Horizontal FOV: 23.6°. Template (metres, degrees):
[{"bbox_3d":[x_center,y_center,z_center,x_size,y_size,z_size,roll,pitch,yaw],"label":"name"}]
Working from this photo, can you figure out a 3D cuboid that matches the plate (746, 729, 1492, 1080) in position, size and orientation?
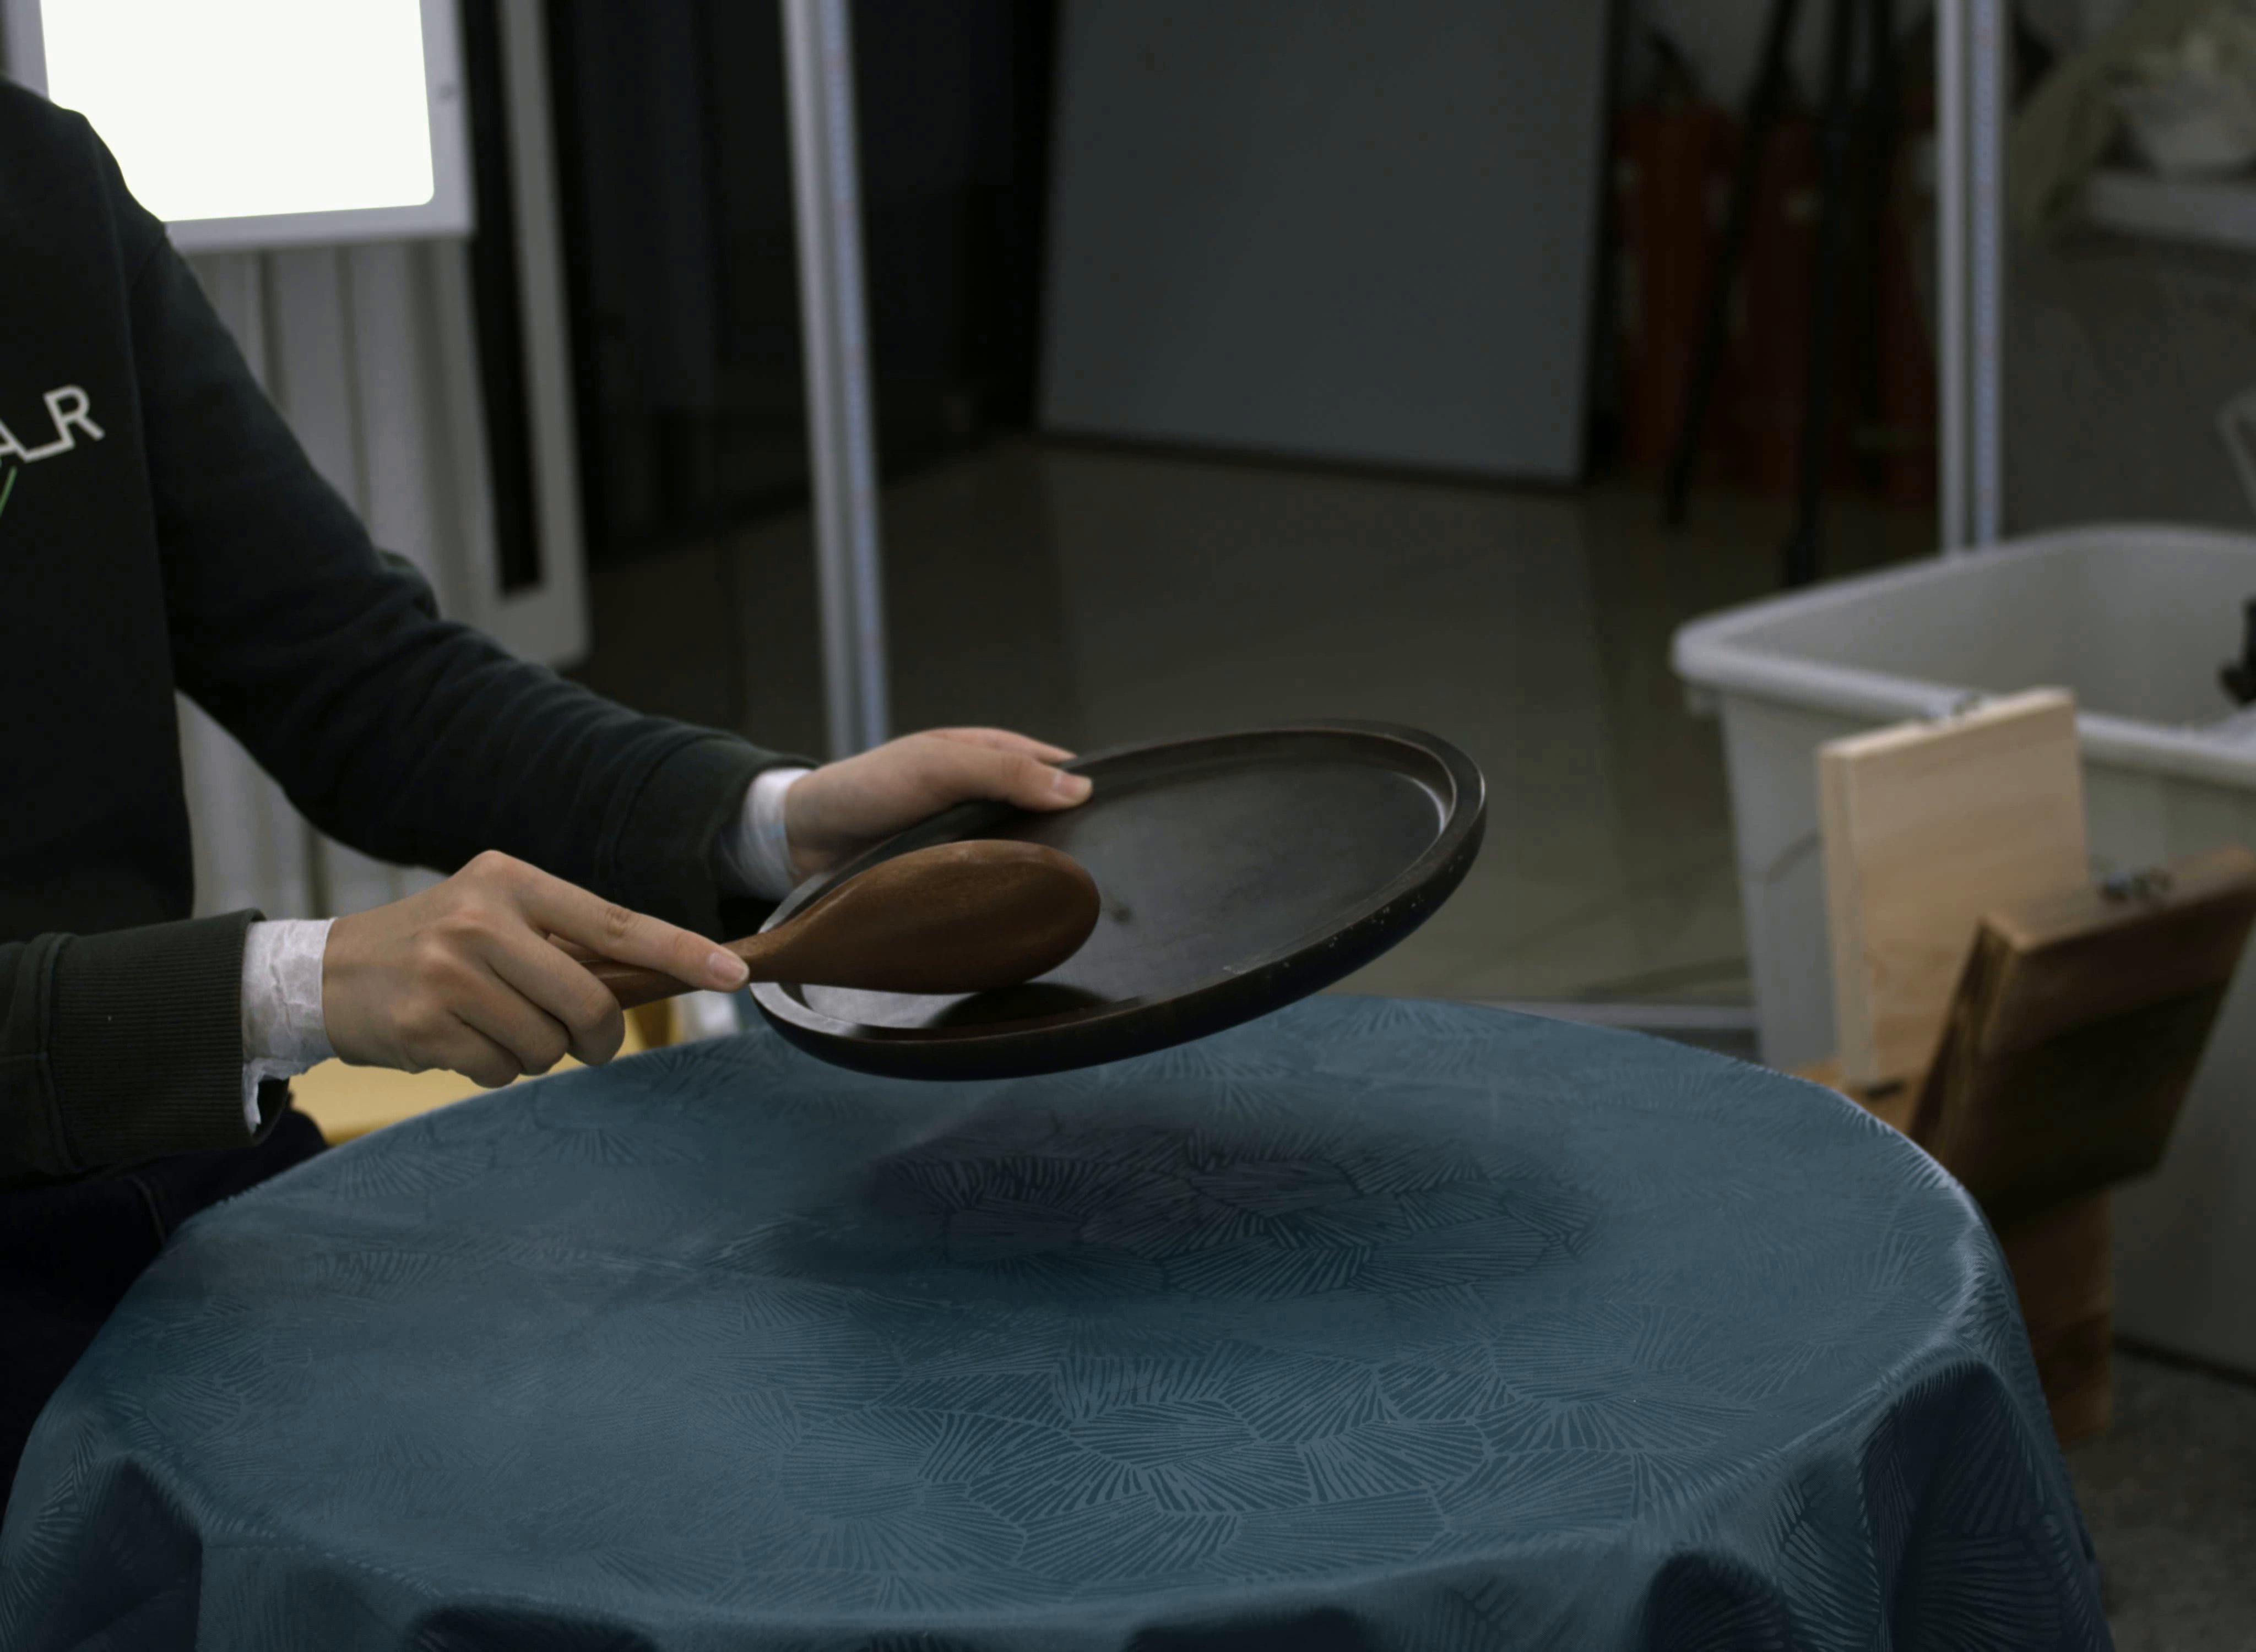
[{"bbox_3d":[-0.002,0.024,1.768,0.252,0.029,0.255,-14,19,4],"label":"plate"}]

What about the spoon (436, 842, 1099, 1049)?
[{"bbox_3d":[-0.113,0.043,1.701,0.214,0.075,0.017,-10,55,7],"label":"spoon"}]
